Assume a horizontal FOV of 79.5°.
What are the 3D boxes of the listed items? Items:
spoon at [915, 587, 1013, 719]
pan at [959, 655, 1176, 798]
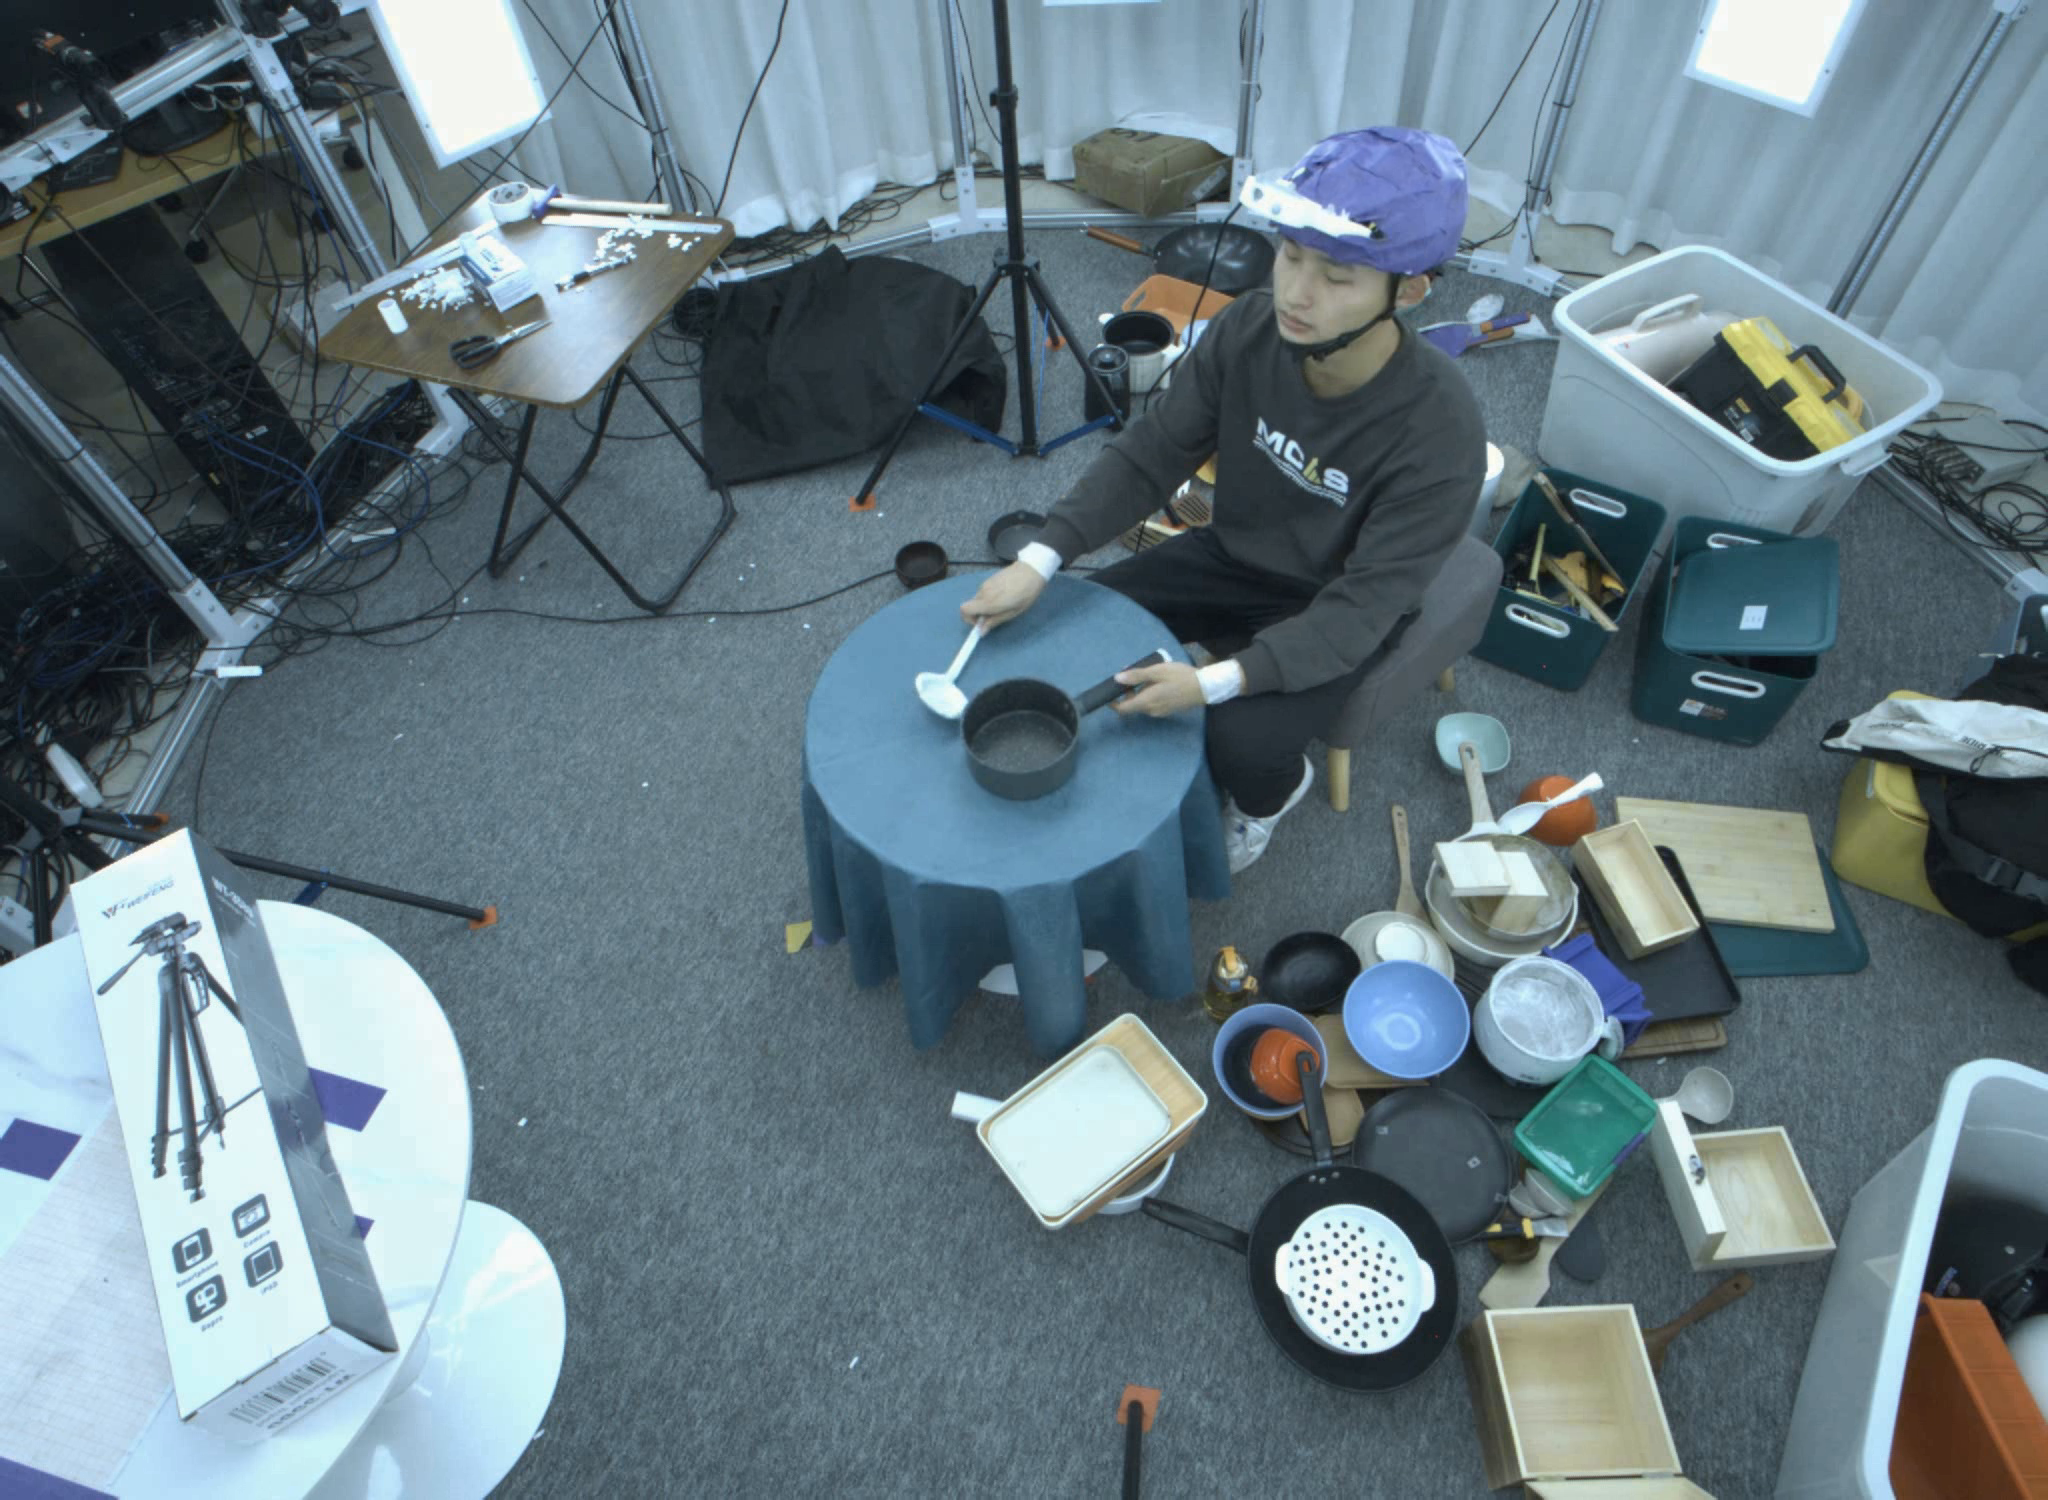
[{"bbox_3d":[-0.073,-0.155,1.863,0.102,0.058,0.278,38,63,-12],"label":"spoon"},{"bbox_3d":[0.067,-0.047,1.776,0.331,0.087,0.169,-22,58,-13],"label":"pan"}]
